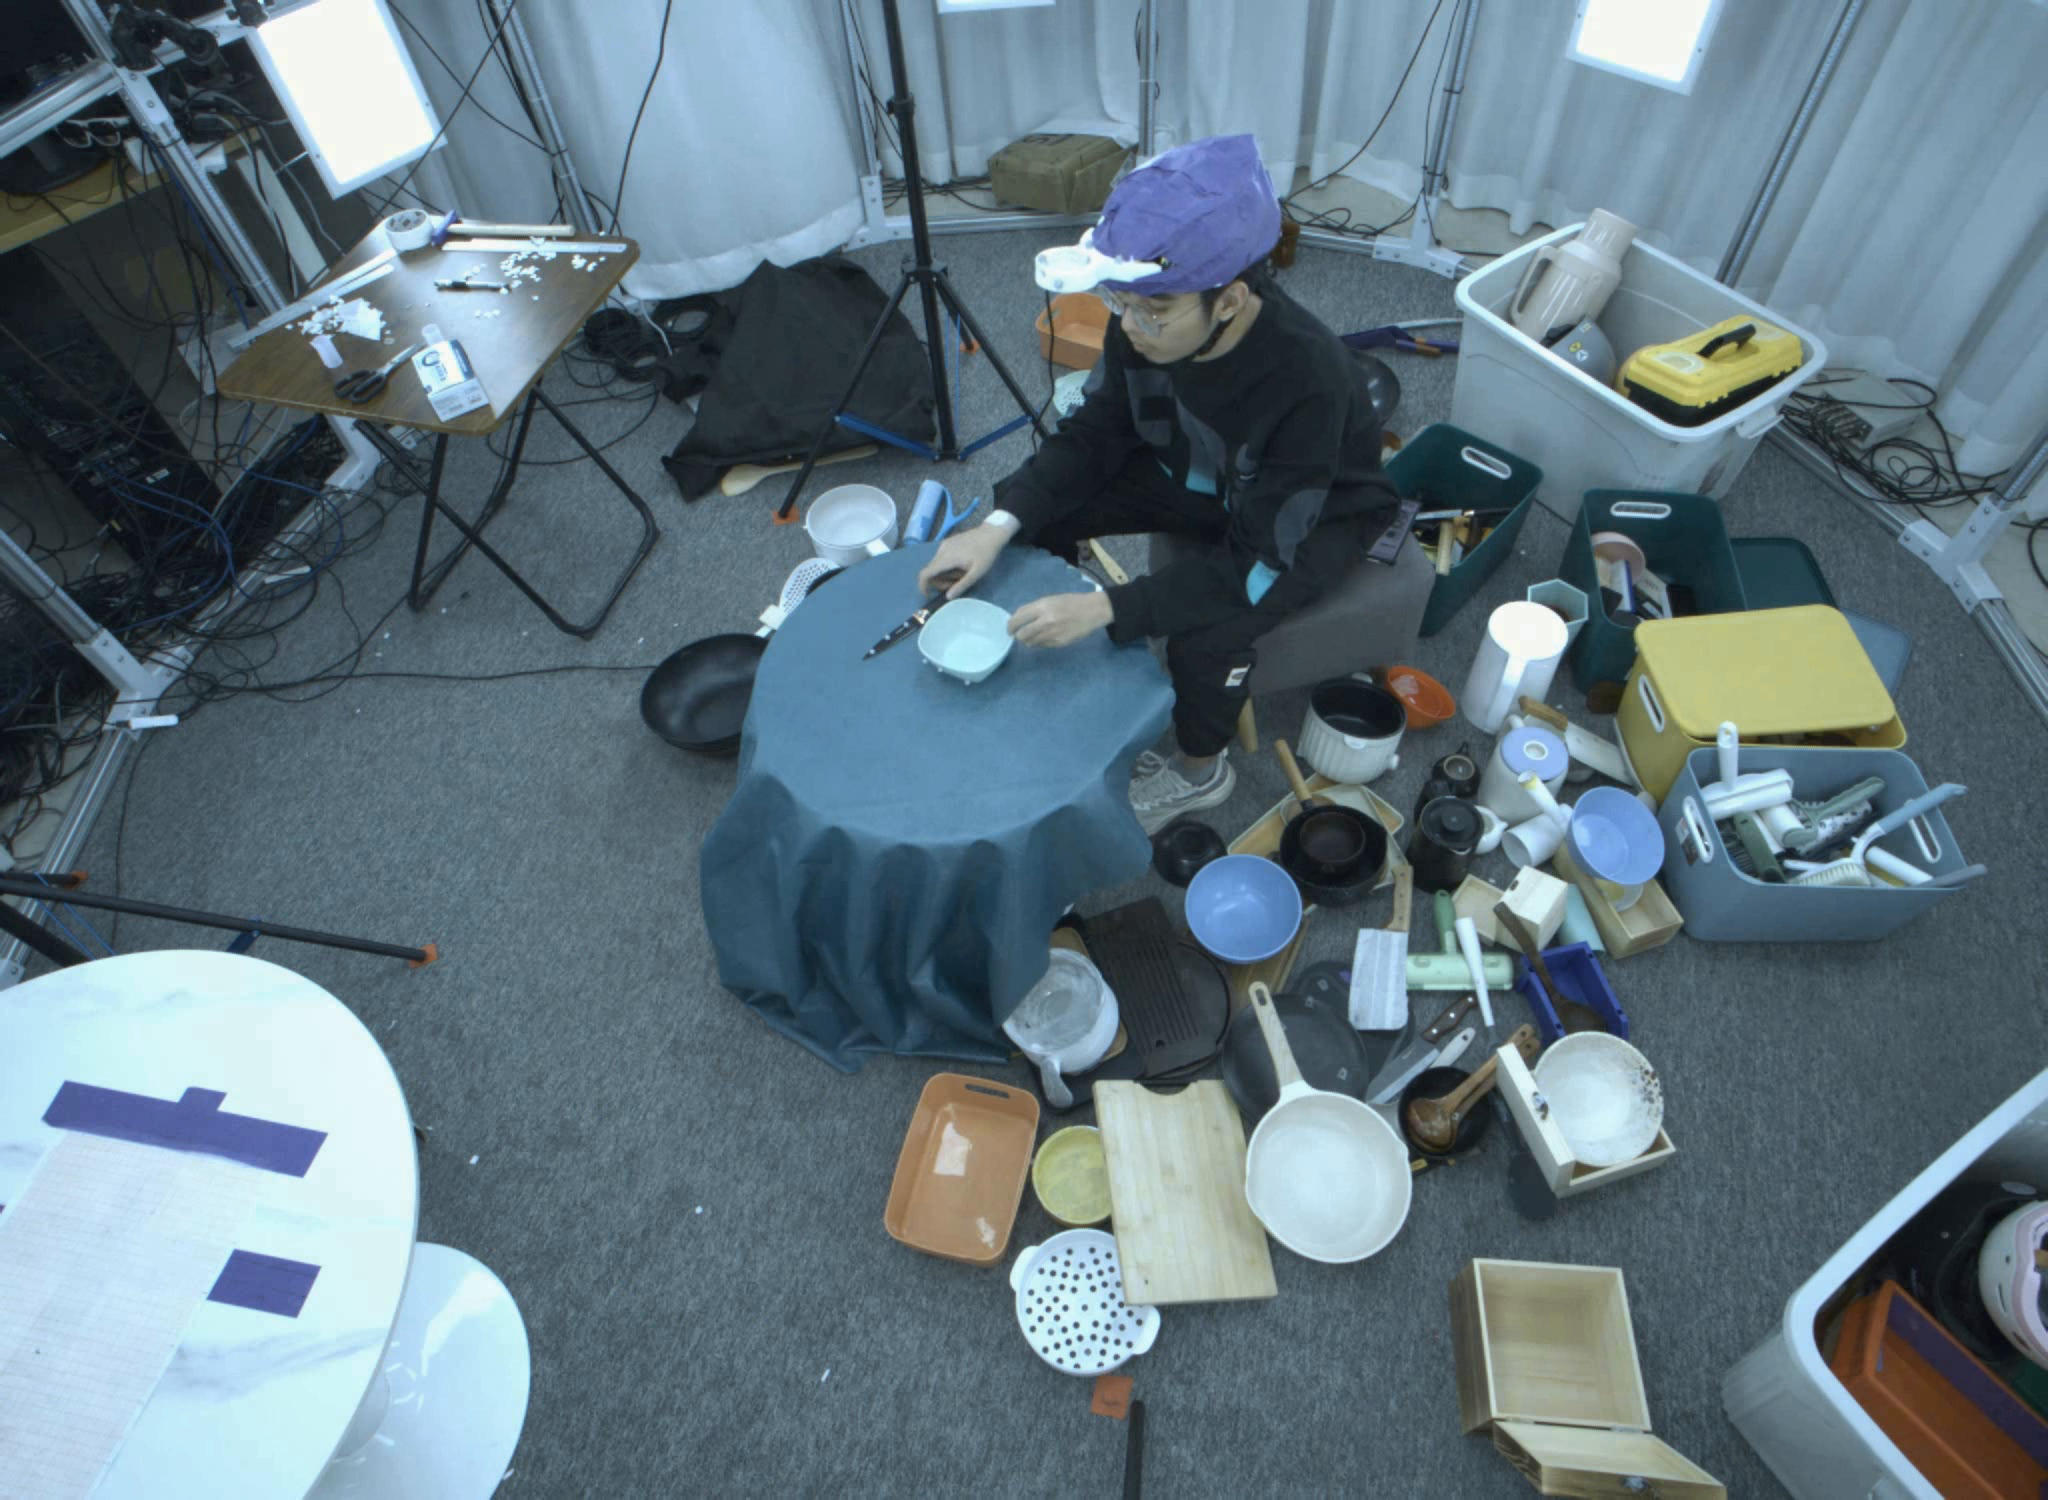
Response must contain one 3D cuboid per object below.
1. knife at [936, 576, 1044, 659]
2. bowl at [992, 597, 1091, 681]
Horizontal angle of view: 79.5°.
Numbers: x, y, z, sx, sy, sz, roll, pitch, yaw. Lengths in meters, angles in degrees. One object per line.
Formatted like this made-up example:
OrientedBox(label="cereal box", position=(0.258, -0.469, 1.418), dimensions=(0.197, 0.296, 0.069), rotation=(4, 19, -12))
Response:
OrientedBox(label="knife", position=(-0.054, -0.209, 1.930), dimensions=(0.227, 0.017, 0.026), rotation=(-37, 67, -20))
OrientedBox(label="bowl", position=(0.028, -0.158, 1.864), dimensions=(0.151, 0.059, 0.150), rotation=(-1, 54, 3))
